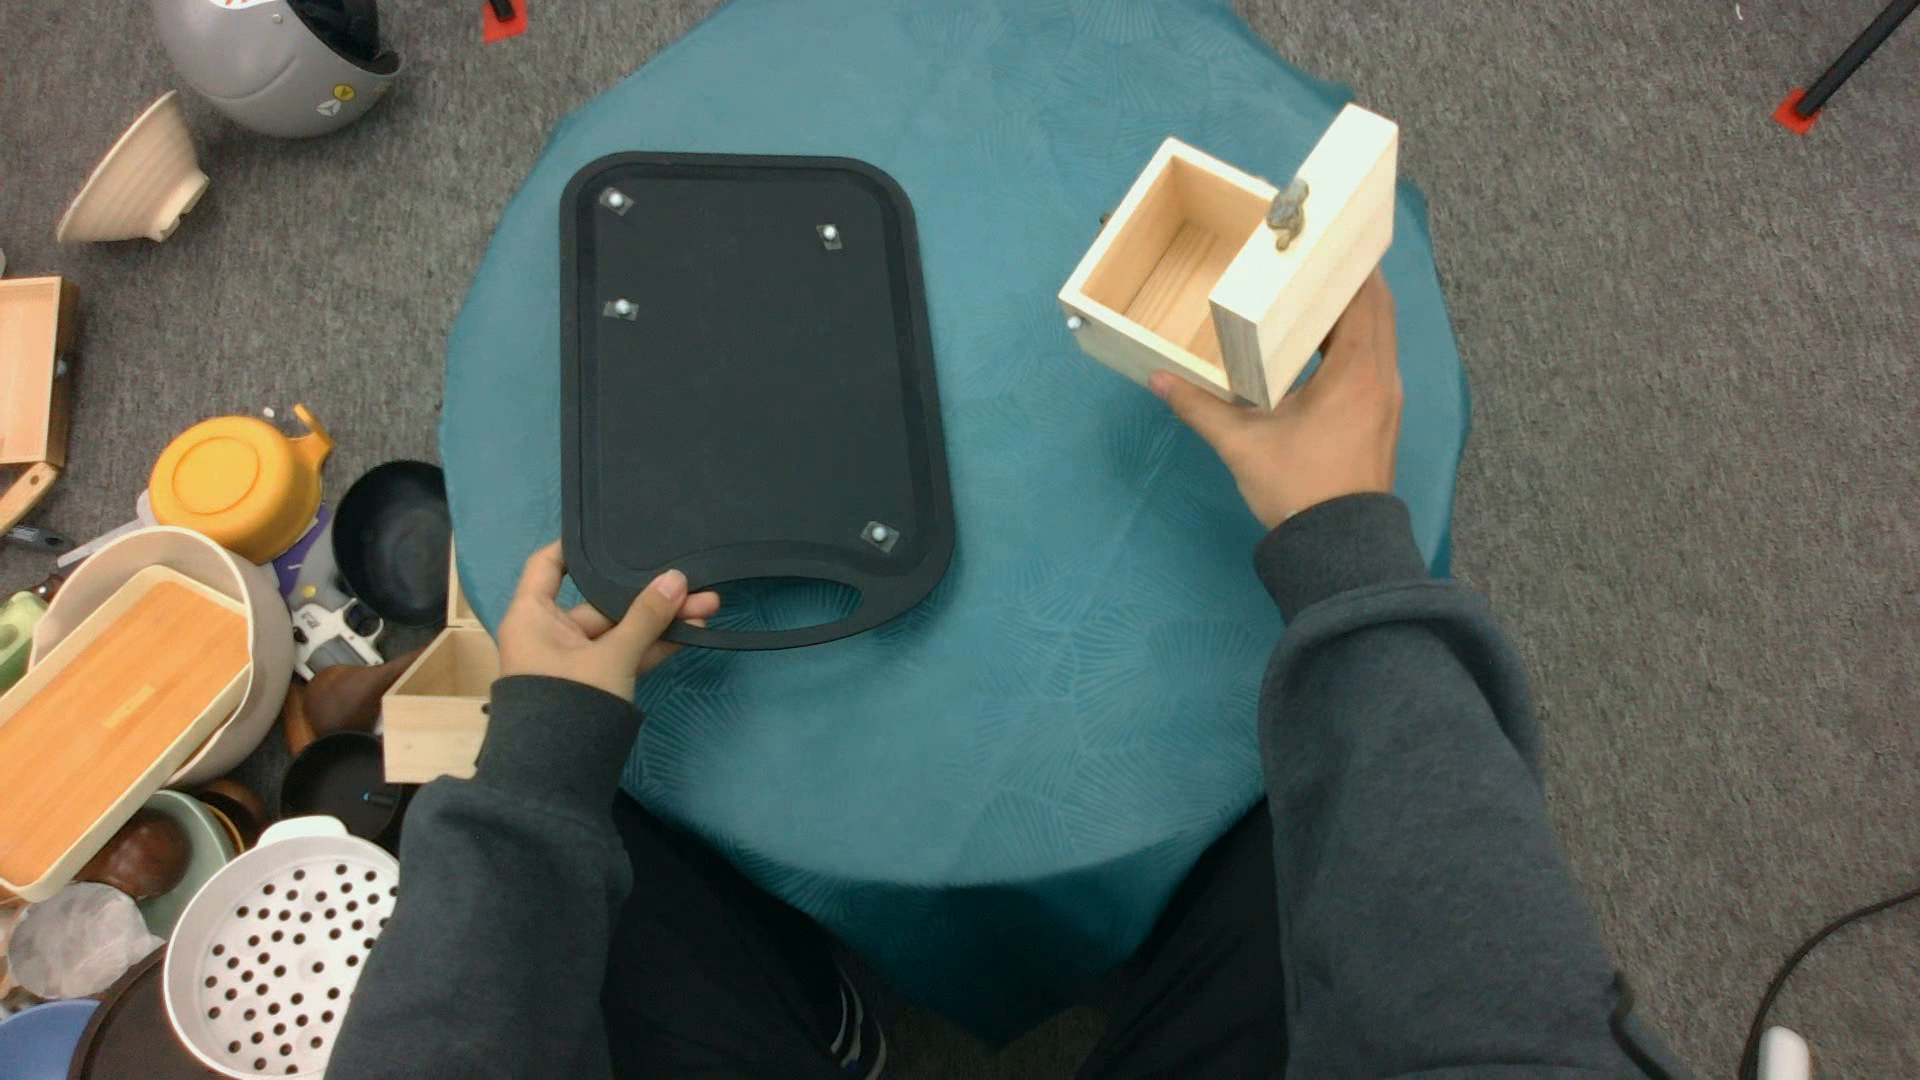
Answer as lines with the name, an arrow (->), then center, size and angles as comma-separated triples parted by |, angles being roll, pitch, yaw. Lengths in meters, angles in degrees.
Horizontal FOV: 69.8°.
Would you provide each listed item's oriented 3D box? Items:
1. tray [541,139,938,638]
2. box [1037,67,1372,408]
tray -> -0.125, -0.098, 0.773 | 0.211, 0.010, 0.326 | -2, 65, -13
box -> 0.109, -0.150, 0.649 | 0.134, 0.184, 0.102 | 32, 86, 19
